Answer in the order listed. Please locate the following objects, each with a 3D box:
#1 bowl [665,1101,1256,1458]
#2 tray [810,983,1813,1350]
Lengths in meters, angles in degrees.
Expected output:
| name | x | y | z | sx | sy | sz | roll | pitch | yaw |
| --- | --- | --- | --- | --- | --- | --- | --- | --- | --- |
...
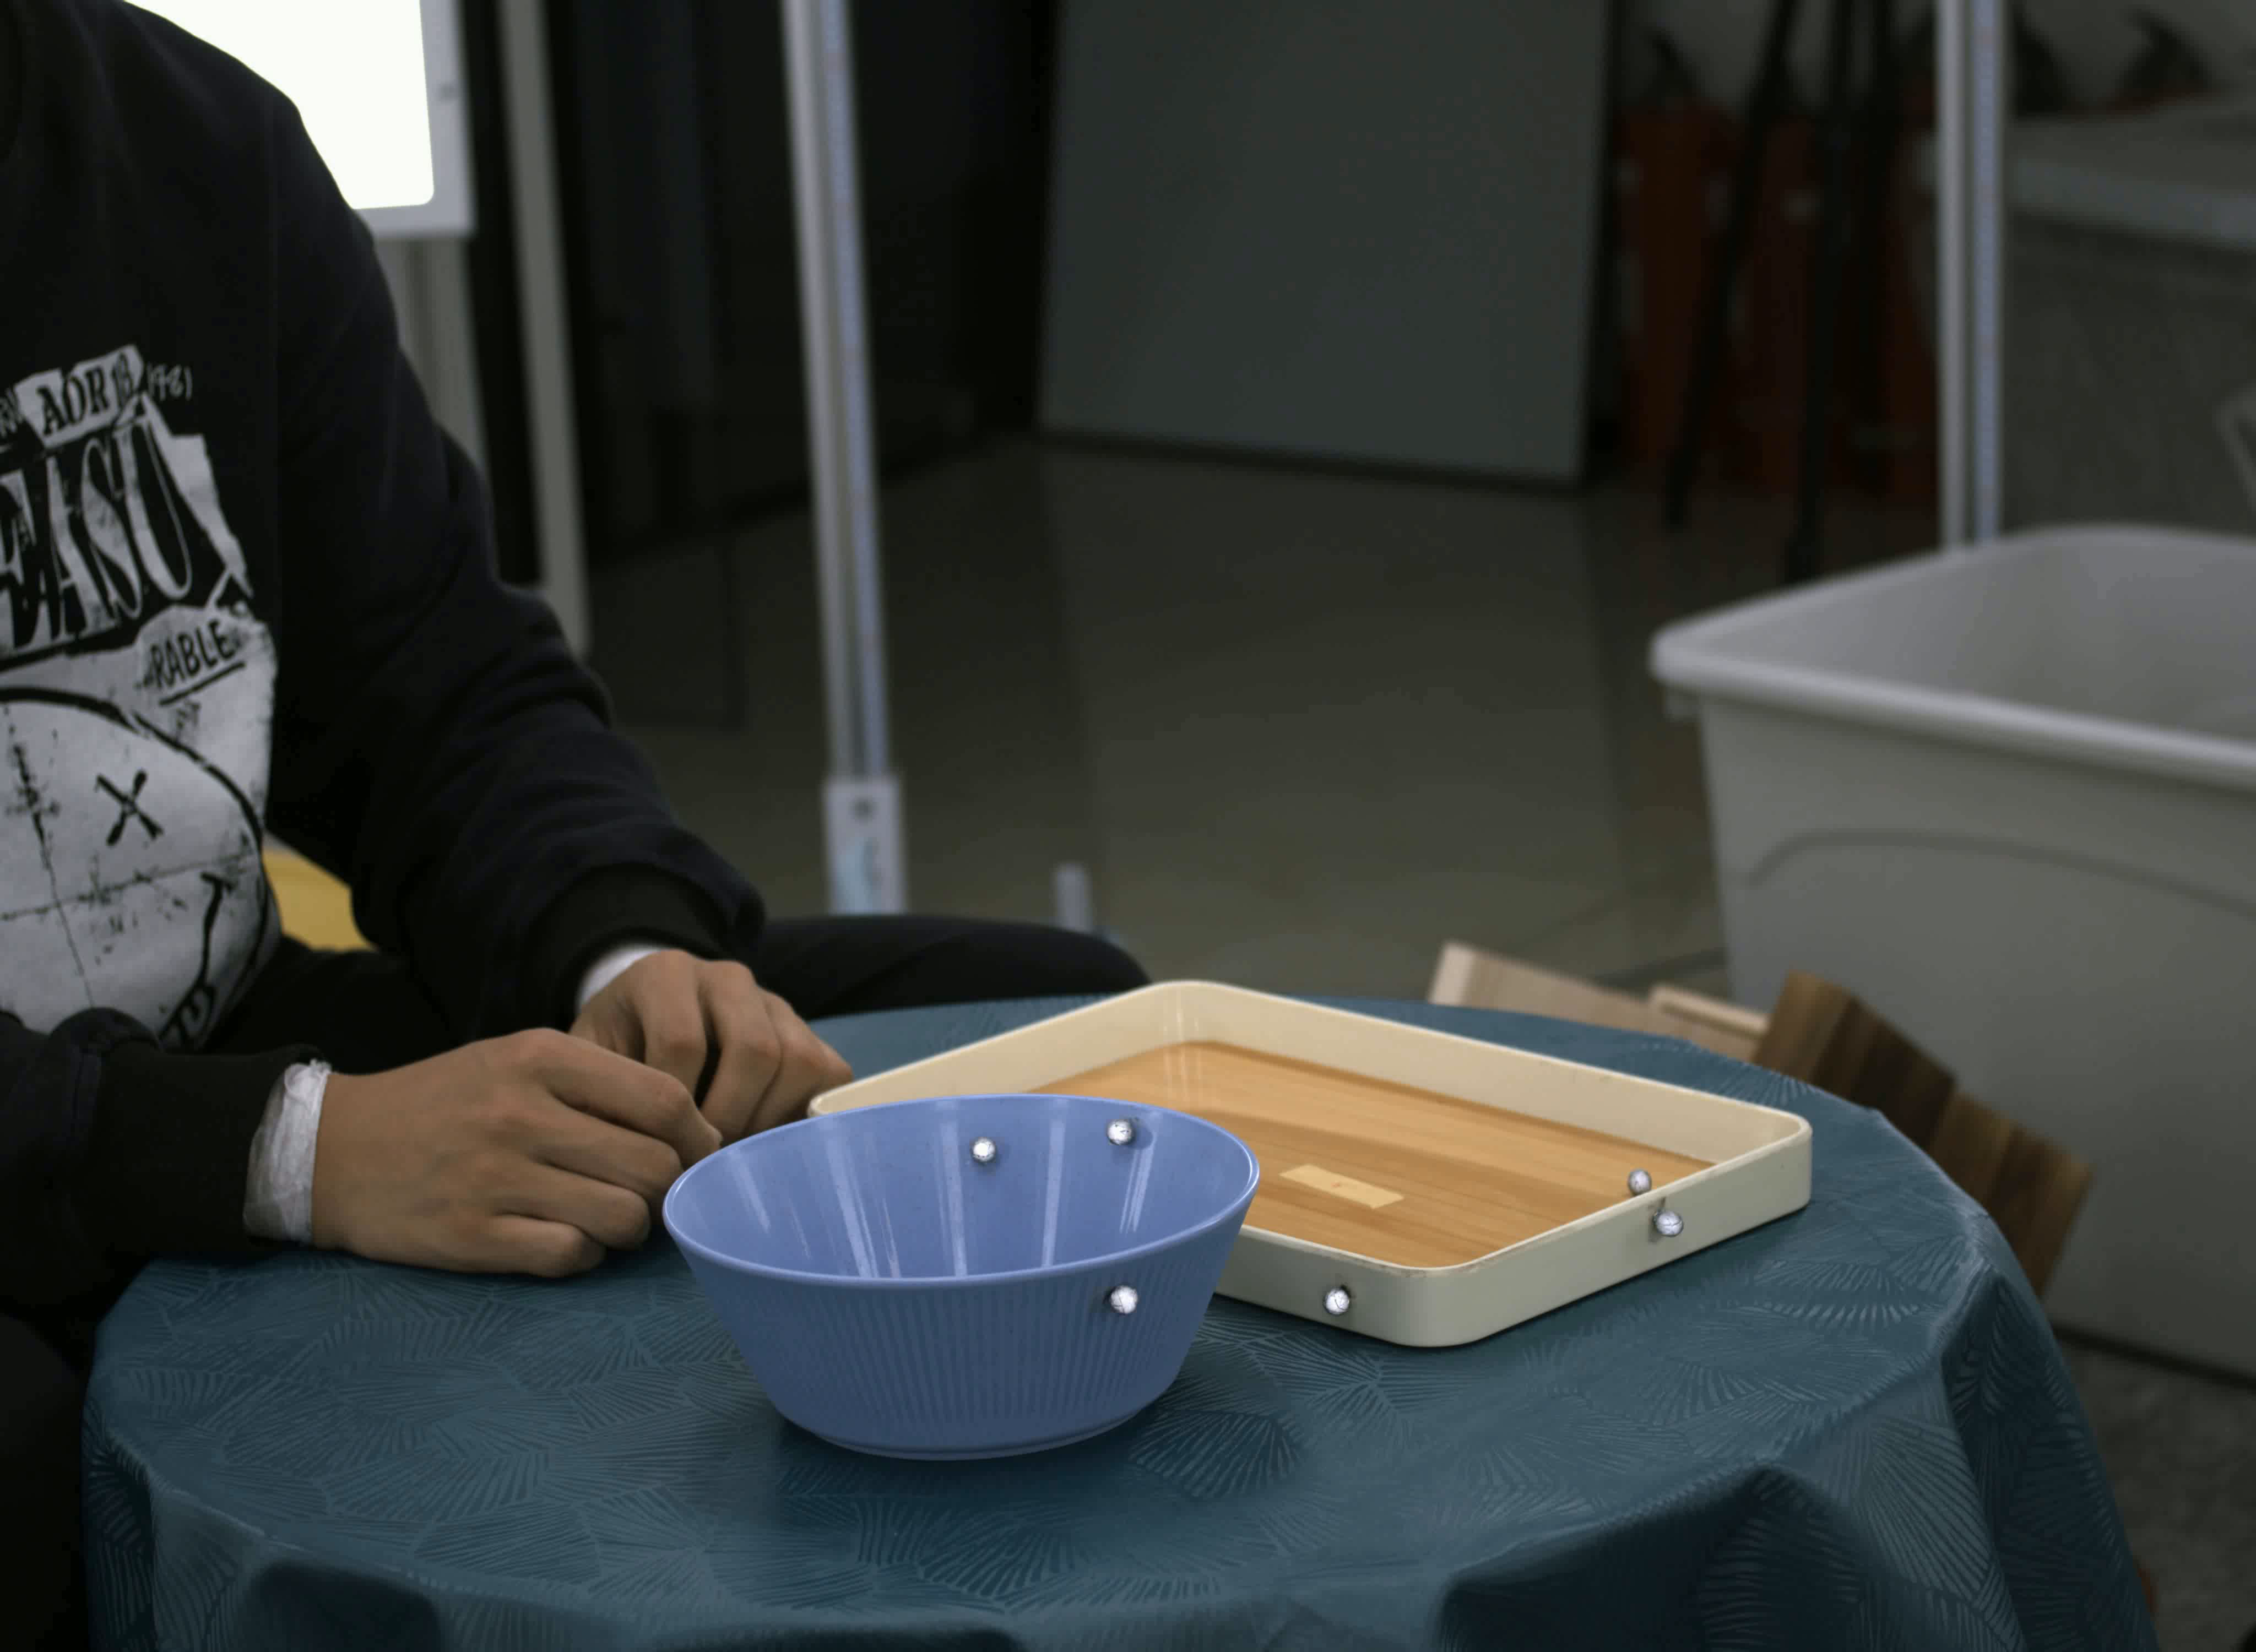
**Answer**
| name | x | y | z | sx | sy | sz | roll | pitch | yaw |
| --- | --- | --- | --- | --- | --- | --- | --- | --- | --- |
| bowl | -0.047 | 0.135 | 1.580 | 0.174 | 0.071 | 0.176 | -3 | 13 | 0 |
| tray | 0.056 | 0.107 | 1.758 | 0.187 | 0.028 | 0.303 | -17 | 19 | -41 |
